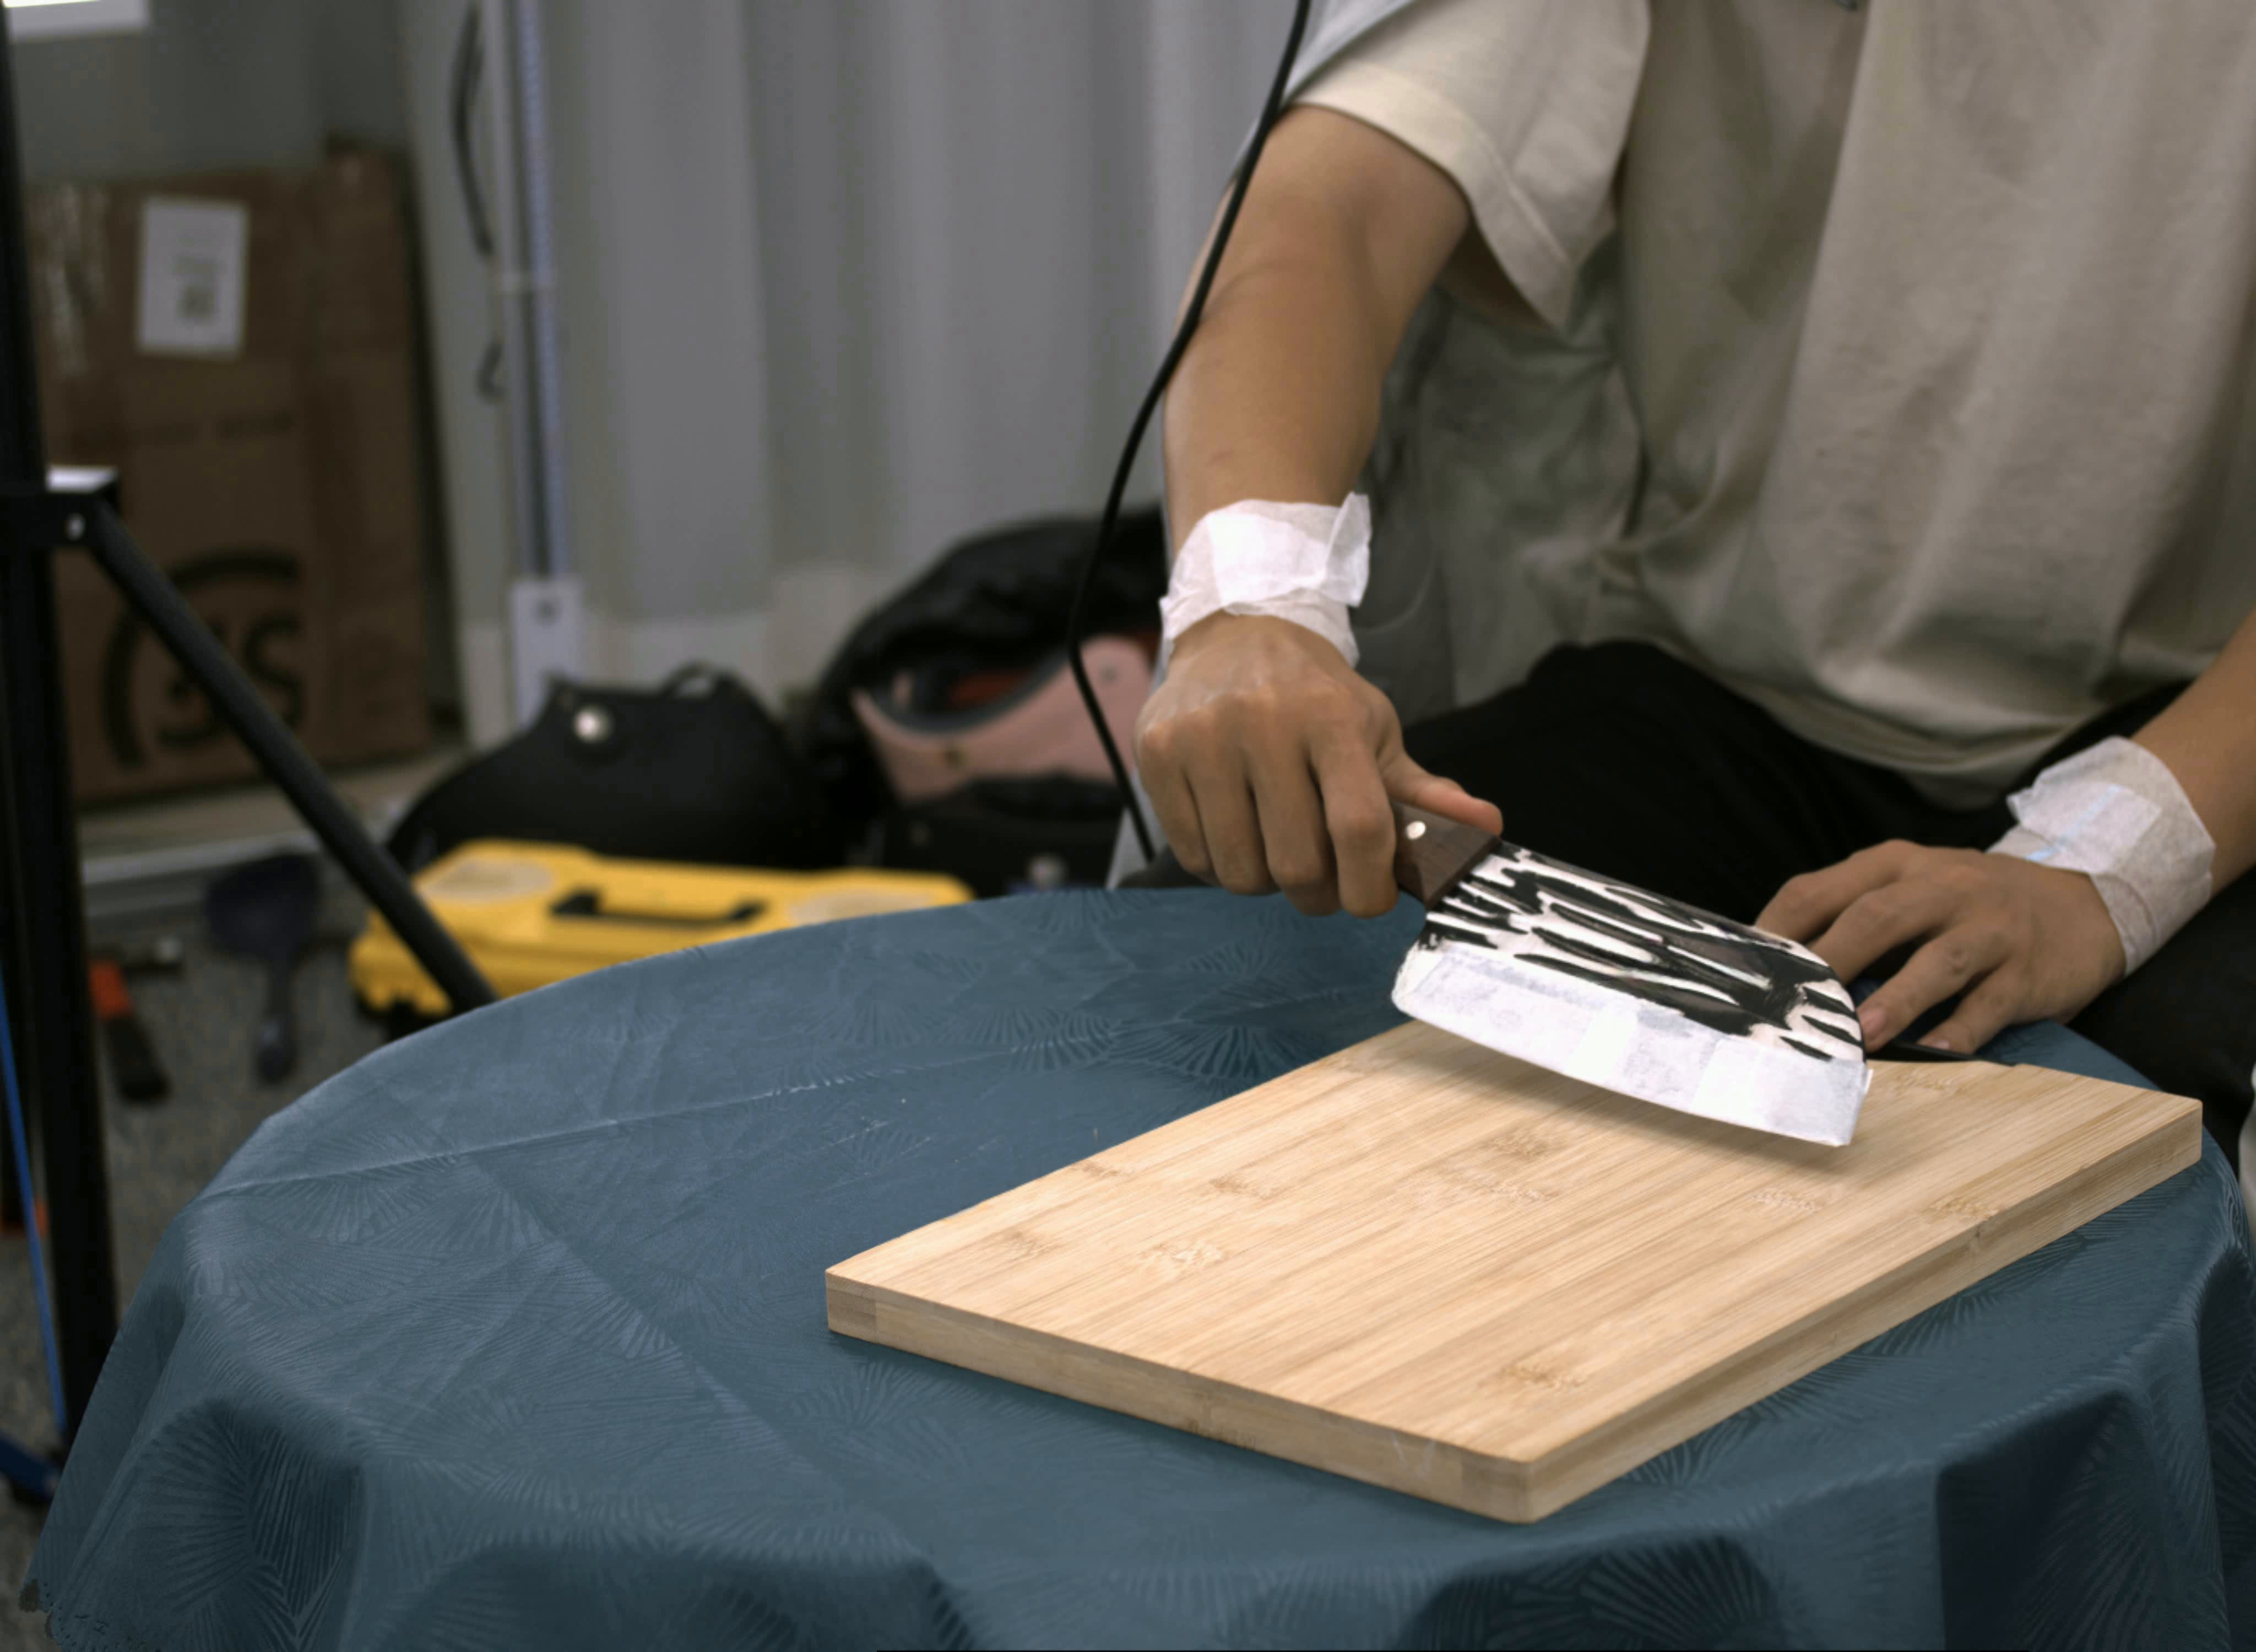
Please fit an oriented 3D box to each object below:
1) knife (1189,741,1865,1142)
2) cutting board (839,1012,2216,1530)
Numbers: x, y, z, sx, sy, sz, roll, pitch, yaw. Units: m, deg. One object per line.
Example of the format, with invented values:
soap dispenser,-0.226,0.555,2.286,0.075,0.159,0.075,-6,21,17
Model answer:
knife,0.112,0.034,1.600,0.306,0.023,0.068,21,63,44
cutting board,0.120,0.110,1.501,0.256,0.023,0.341,11,20,39
